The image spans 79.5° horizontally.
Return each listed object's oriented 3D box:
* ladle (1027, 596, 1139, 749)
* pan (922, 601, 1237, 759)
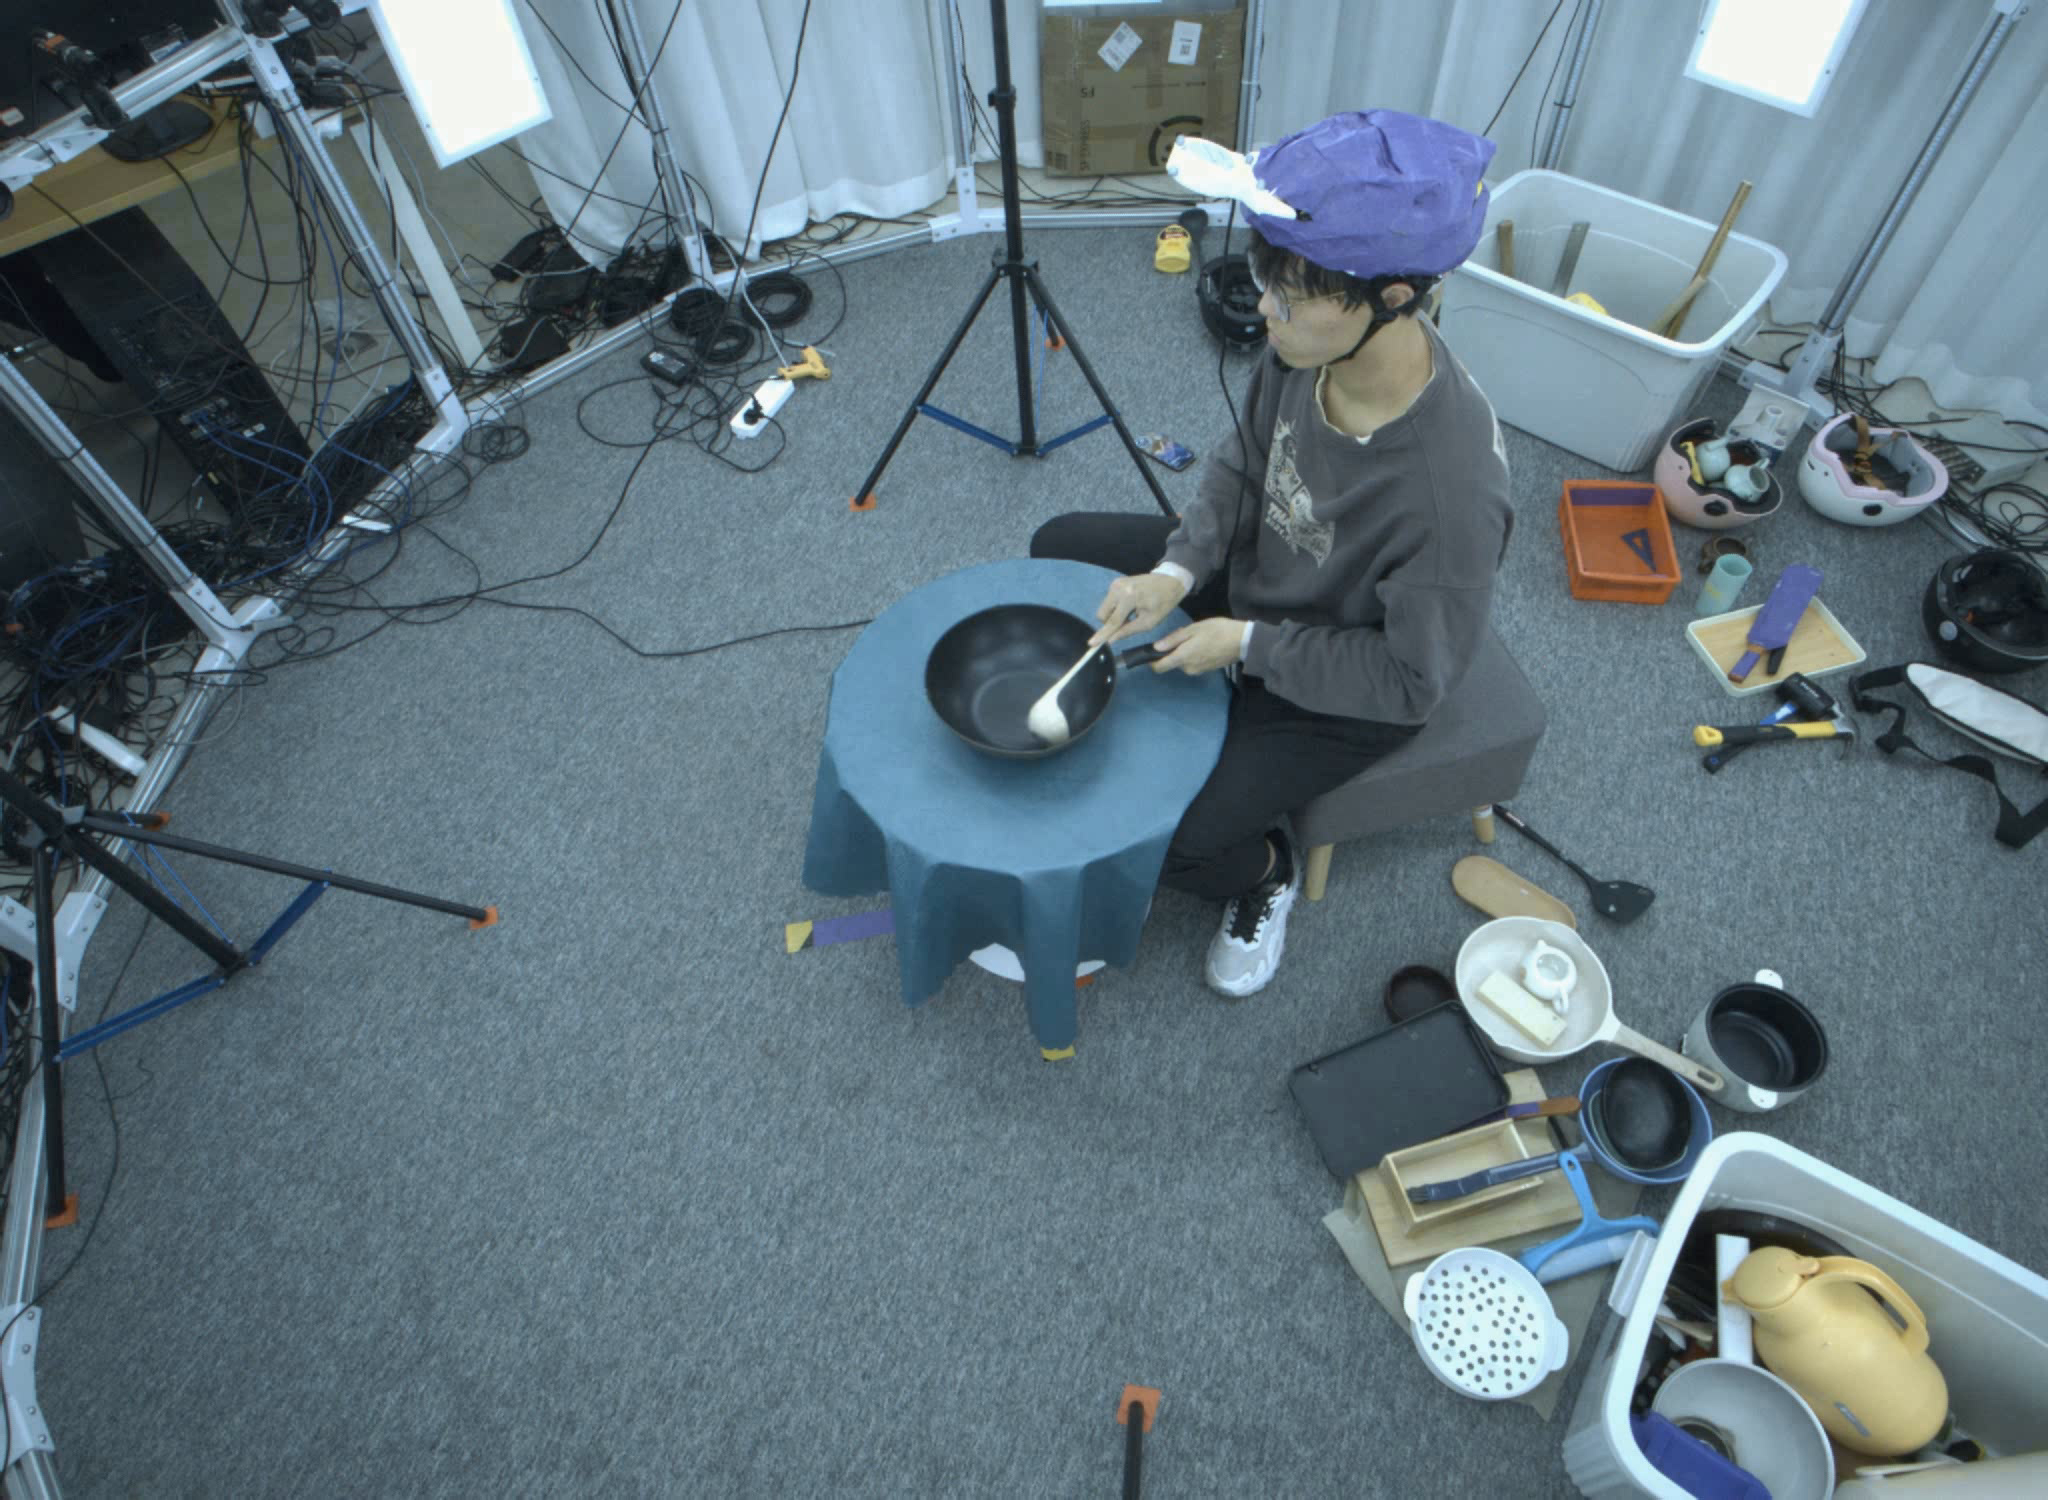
[{"bbox_3d":[0.102,-0.108,1.769,0.255,0.074,0.070,-48,34,-15],"label":"ladle"},{"bbox_3d":[0.083,-0.105,1.808,0.466,0.088,0.283,-10,54,-8],"label":"pan"}]
